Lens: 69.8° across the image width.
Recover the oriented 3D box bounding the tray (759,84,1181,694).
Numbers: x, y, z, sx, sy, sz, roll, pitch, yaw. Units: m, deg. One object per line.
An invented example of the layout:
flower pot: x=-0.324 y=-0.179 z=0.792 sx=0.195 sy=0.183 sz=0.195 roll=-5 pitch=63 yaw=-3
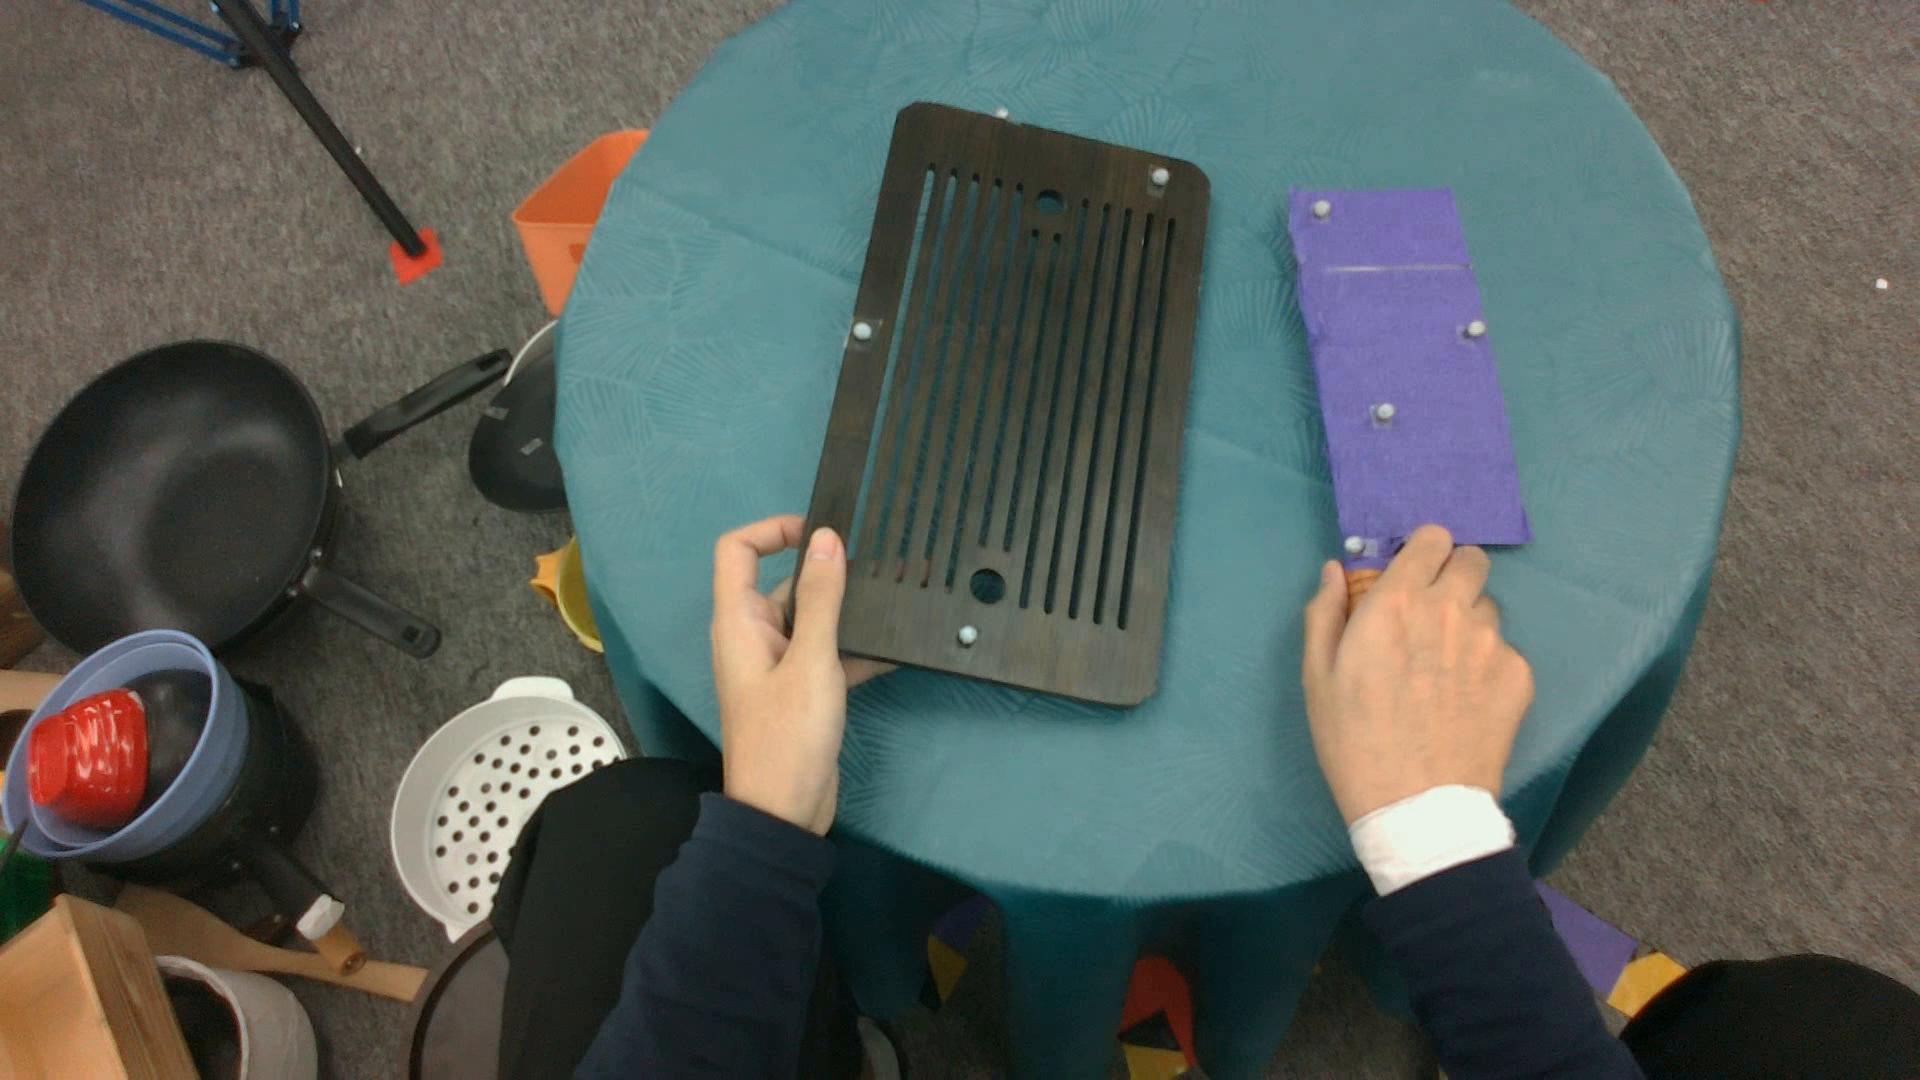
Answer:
tray: x=0.013 y=-0.083 z=0.670 sx=0.170 sy=0.018 sz=0.307 roll=12 pitch=67 yaw=-6

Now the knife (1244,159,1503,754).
knife: x=0.207 y=-0.056 z=0.657 sx=0.104 sy=0.032 sz=0.316 roll=-1 pitch=67 yaw=-5
